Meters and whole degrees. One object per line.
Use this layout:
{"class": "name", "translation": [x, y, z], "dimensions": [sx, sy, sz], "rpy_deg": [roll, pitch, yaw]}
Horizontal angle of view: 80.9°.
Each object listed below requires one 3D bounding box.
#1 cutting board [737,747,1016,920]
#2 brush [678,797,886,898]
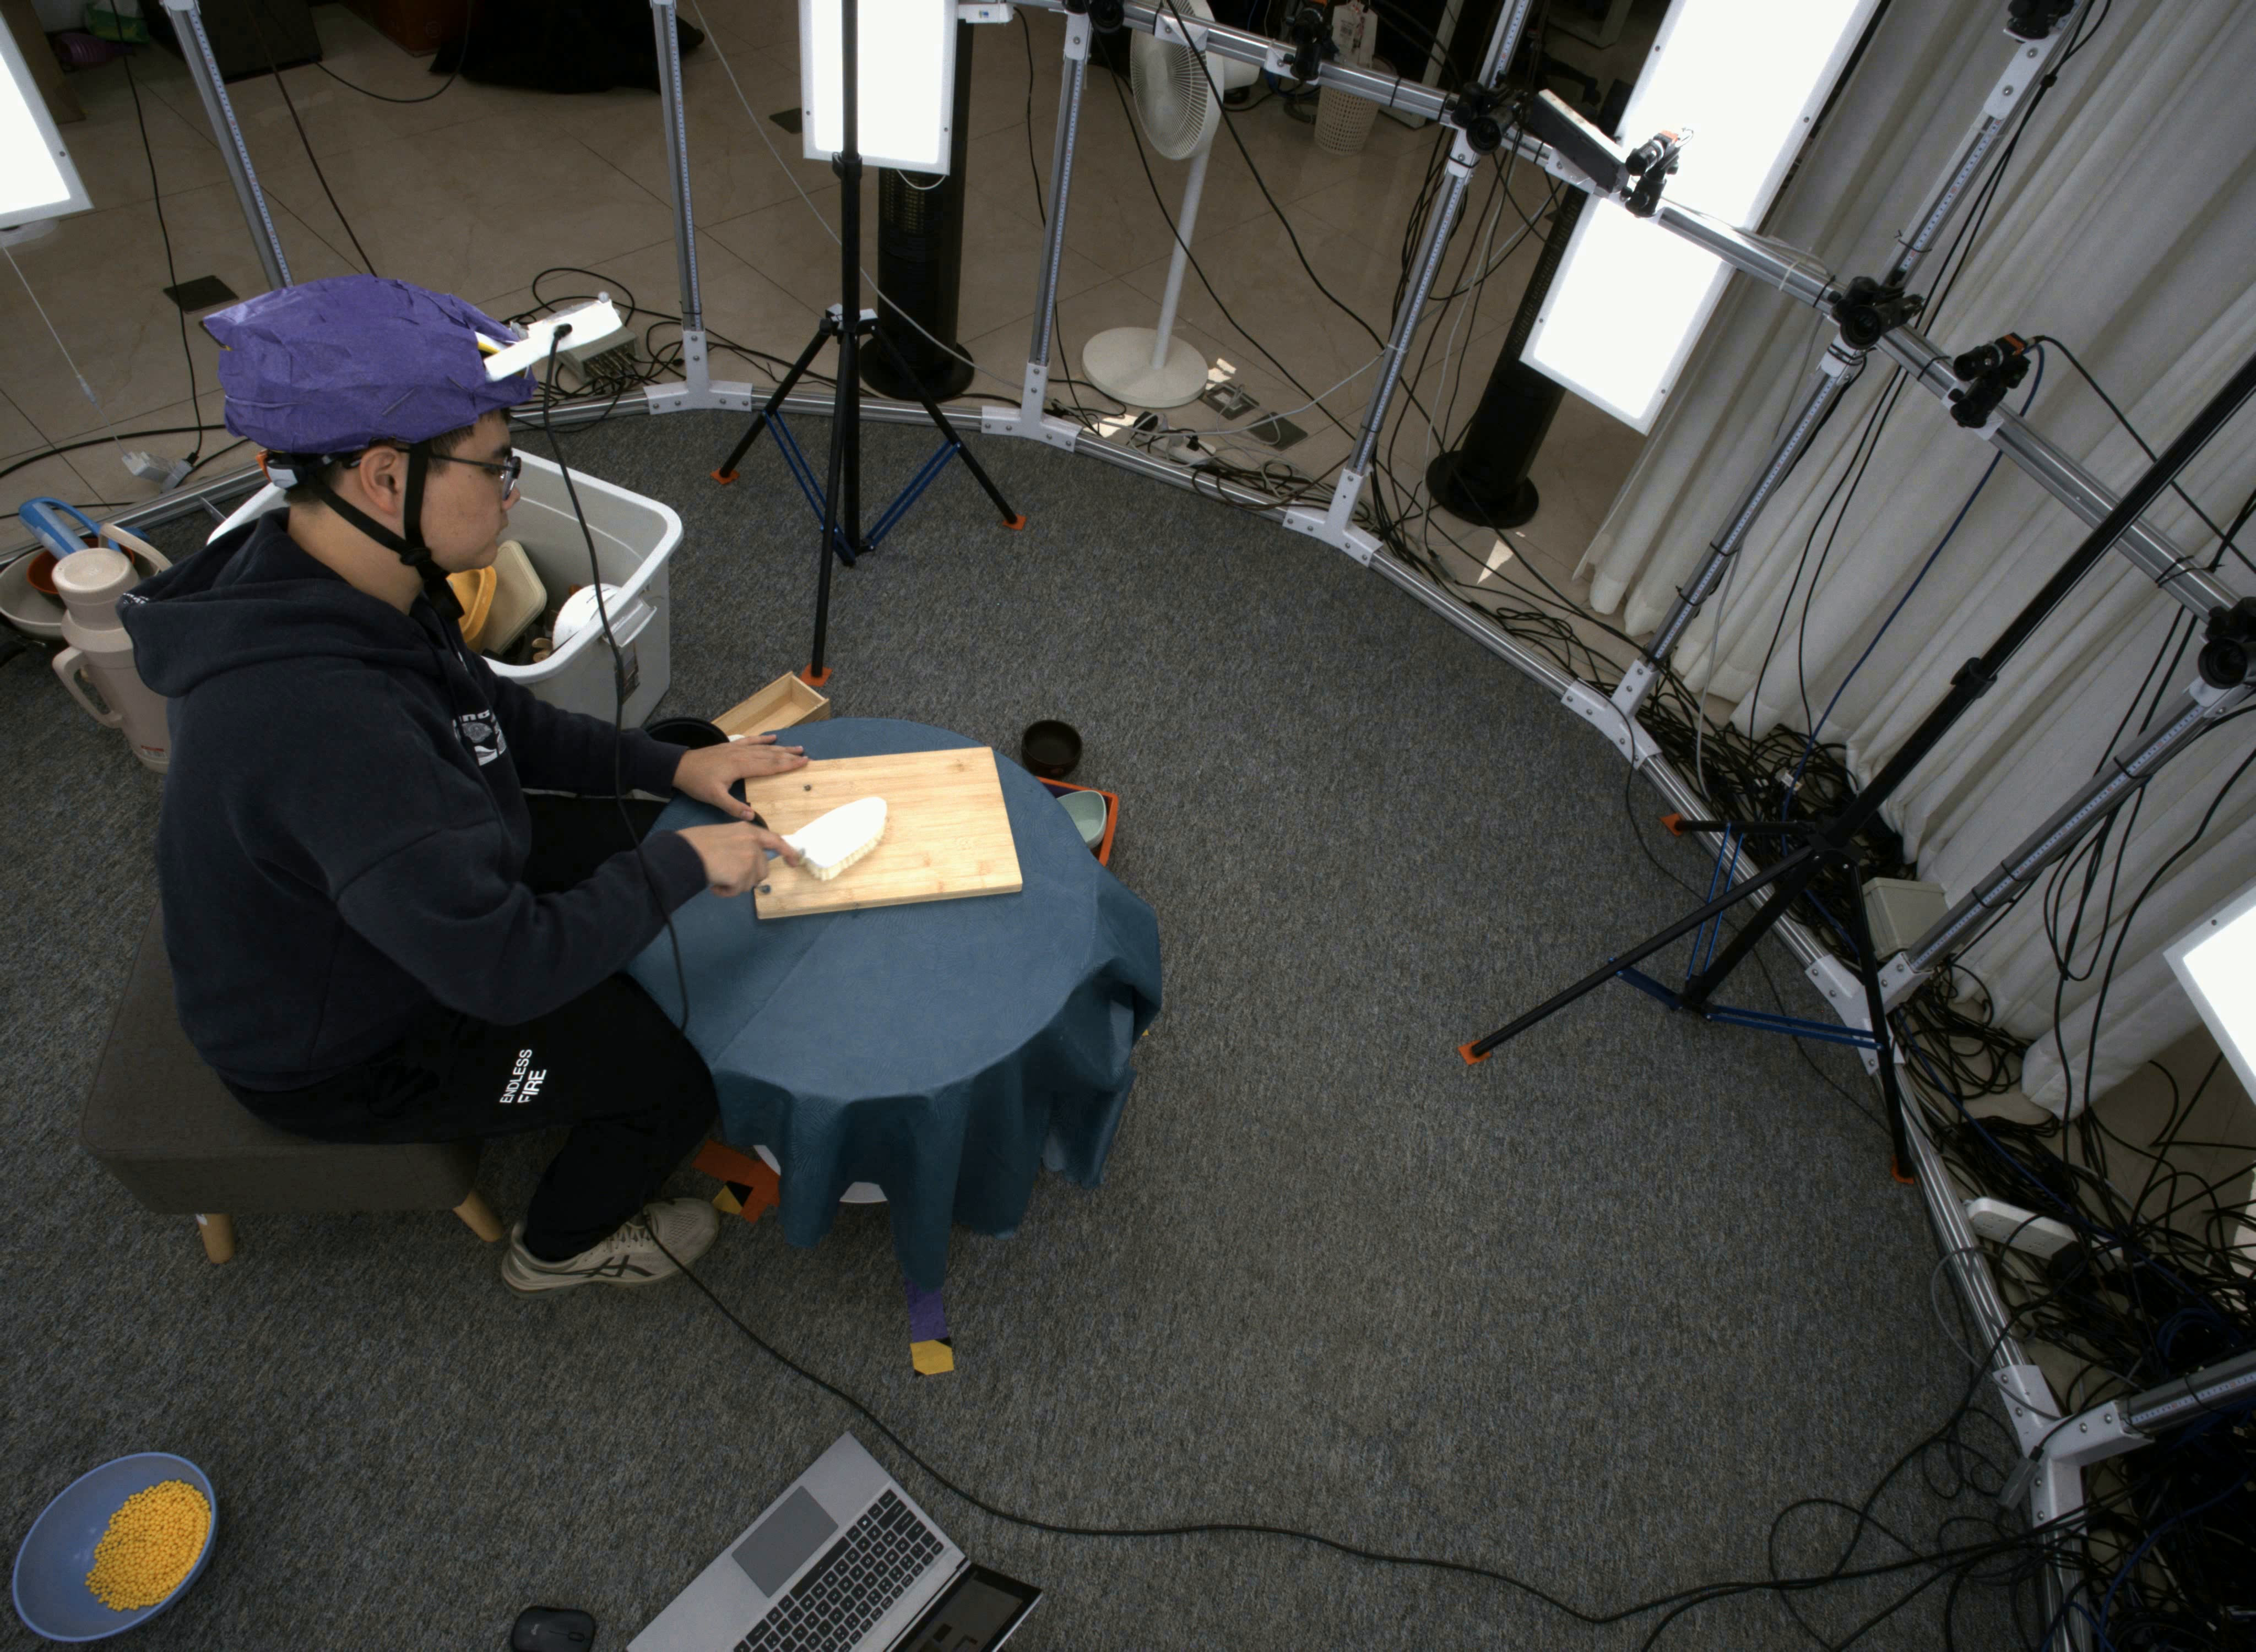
{"class": "cutting board", "translation": [-0.334, 0.003, 1.730], "dimensions": [0.350, 0.024, 0.244], "rpy_deg": [-6, 55, -18]}
{"class": "brush", "translation": [-0.428, 0.040, 1.601], "dimensions": [0.080, 0.087, 0.327], "rpy_deg": [7, 23, 35]}
